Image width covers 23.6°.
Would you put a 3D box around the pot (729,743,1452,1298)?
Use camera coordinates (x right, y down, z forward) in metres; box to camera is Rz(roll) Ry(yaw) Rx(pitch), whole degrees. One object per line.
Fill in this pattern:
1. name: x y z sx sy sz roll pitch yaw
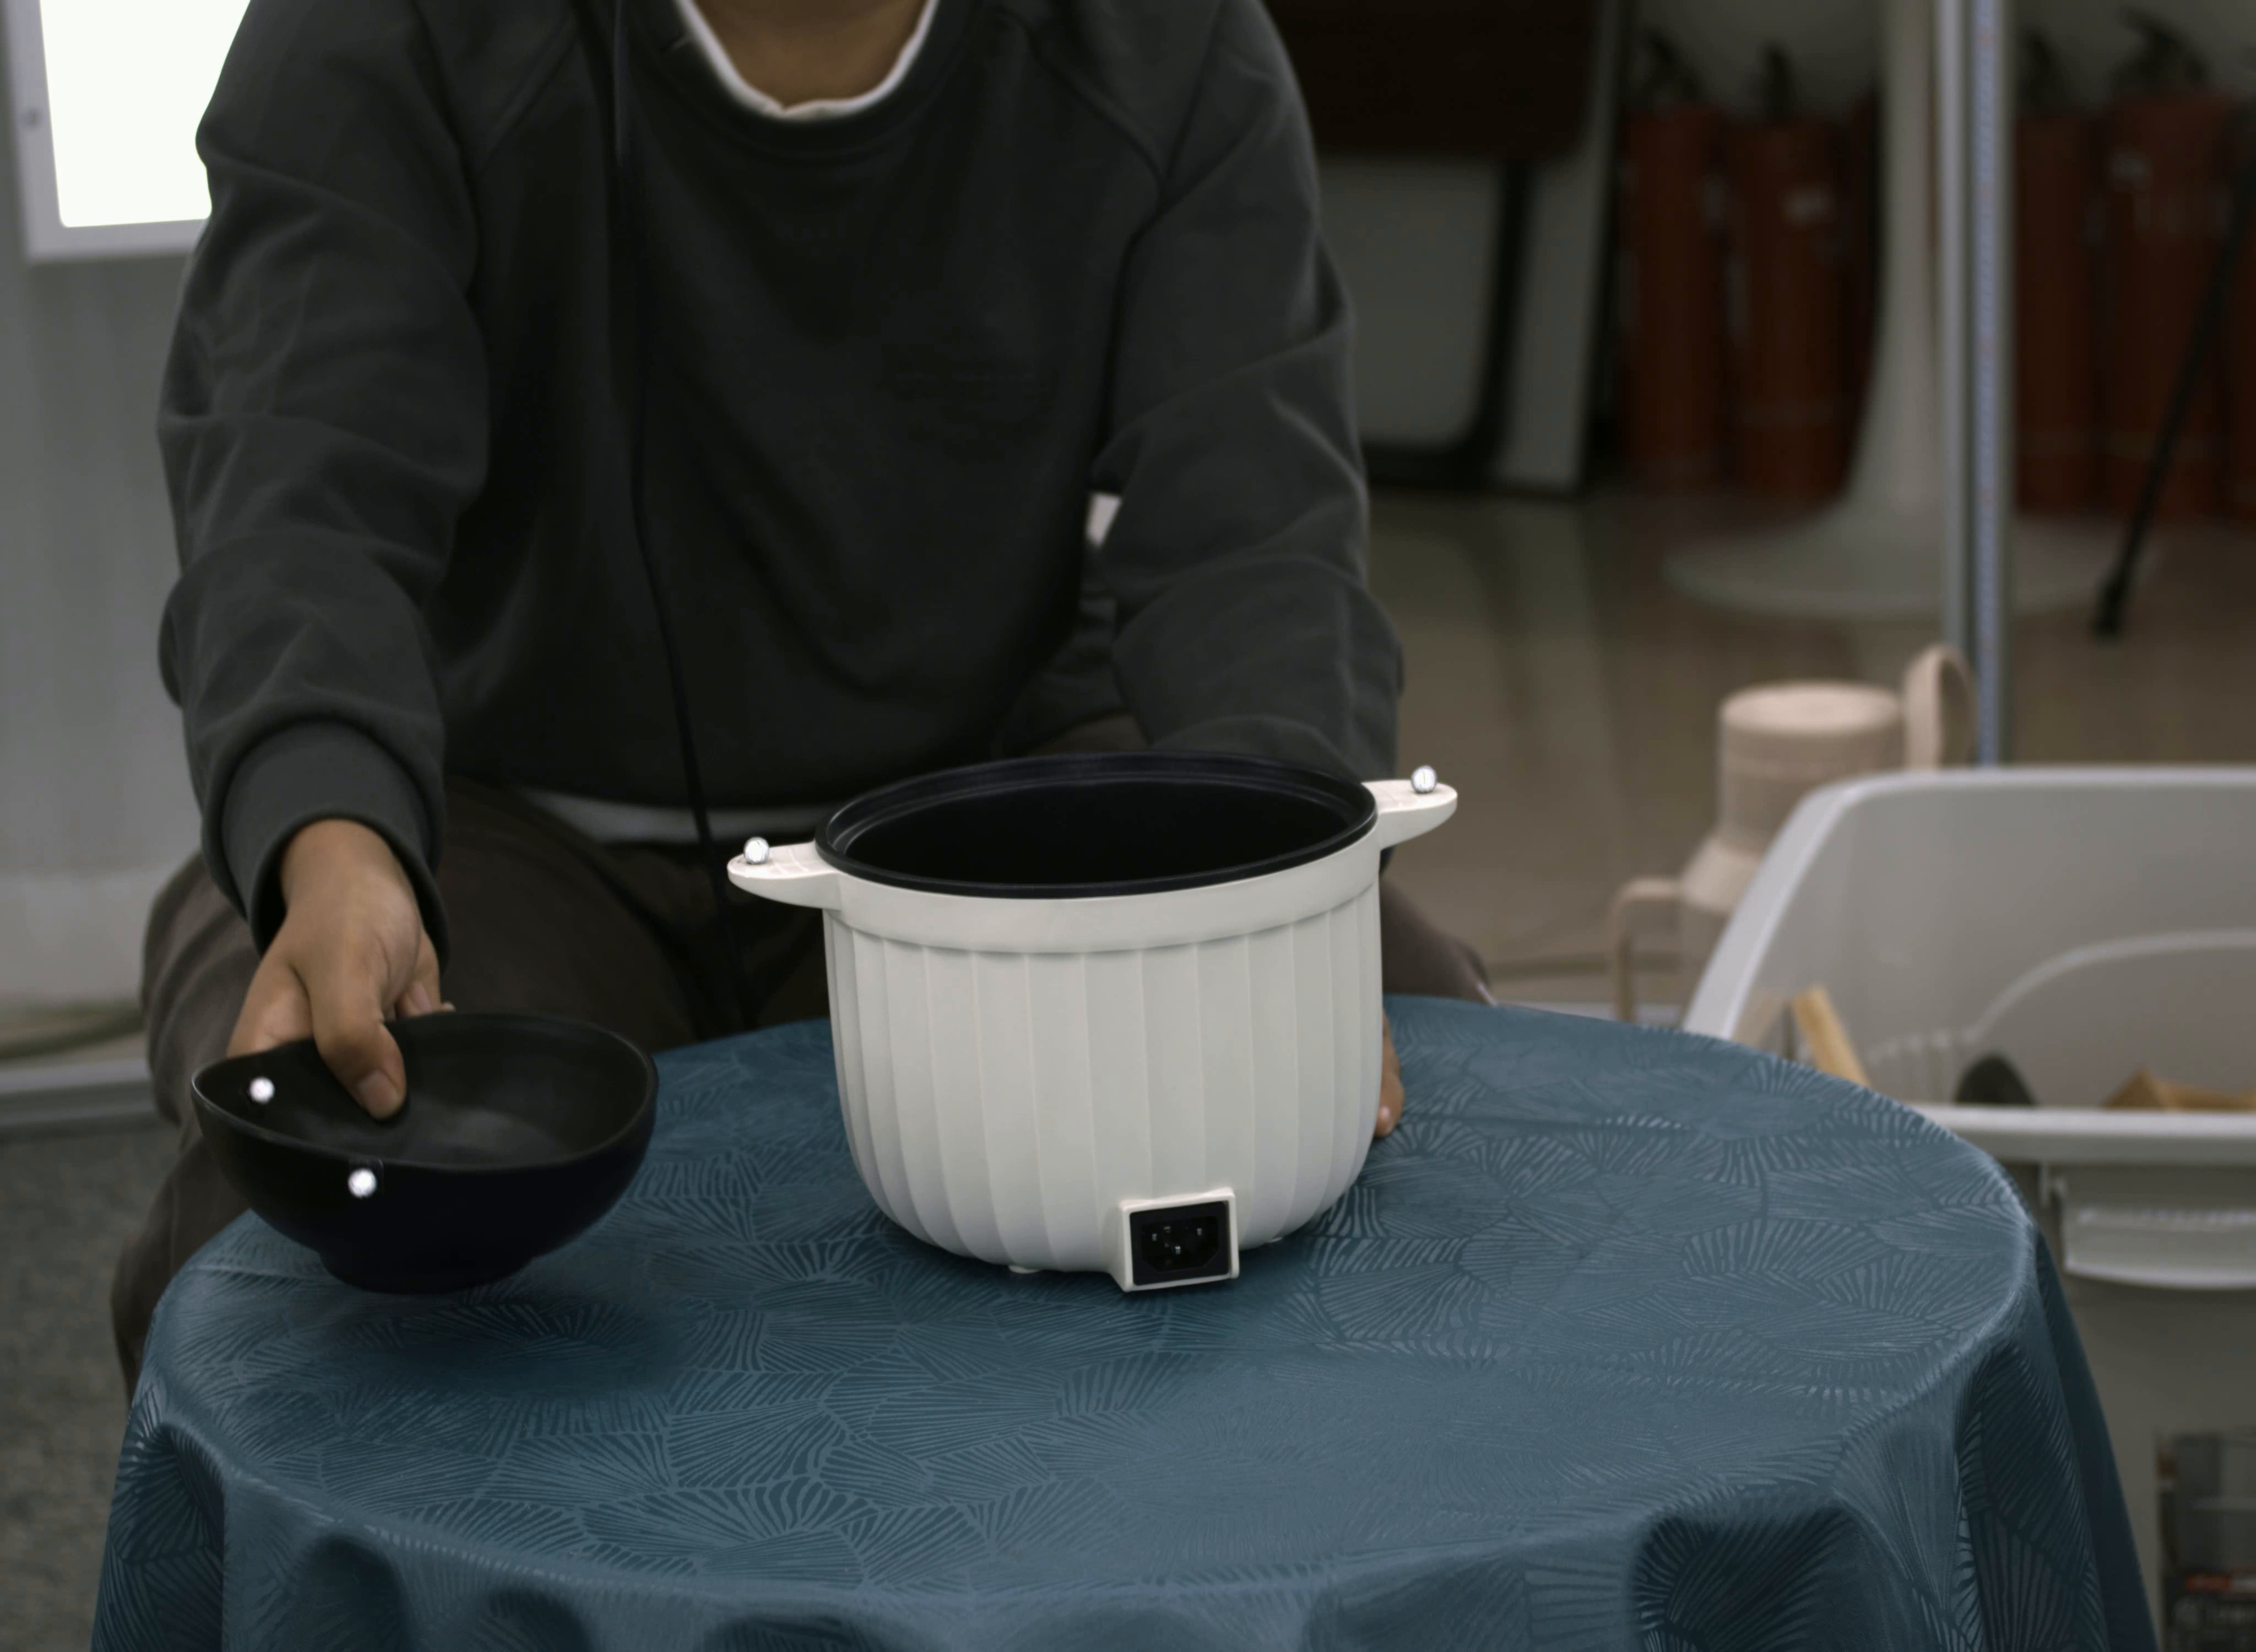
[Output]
1. pot: -0.009 0.060 1.736 0.236 0.144 0.192 -6 17 -13

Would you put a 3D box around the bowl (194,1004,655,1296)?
1. bowl: -0.218 0.105 1.687 0.134 0.067 0.172 -15 19 -35
